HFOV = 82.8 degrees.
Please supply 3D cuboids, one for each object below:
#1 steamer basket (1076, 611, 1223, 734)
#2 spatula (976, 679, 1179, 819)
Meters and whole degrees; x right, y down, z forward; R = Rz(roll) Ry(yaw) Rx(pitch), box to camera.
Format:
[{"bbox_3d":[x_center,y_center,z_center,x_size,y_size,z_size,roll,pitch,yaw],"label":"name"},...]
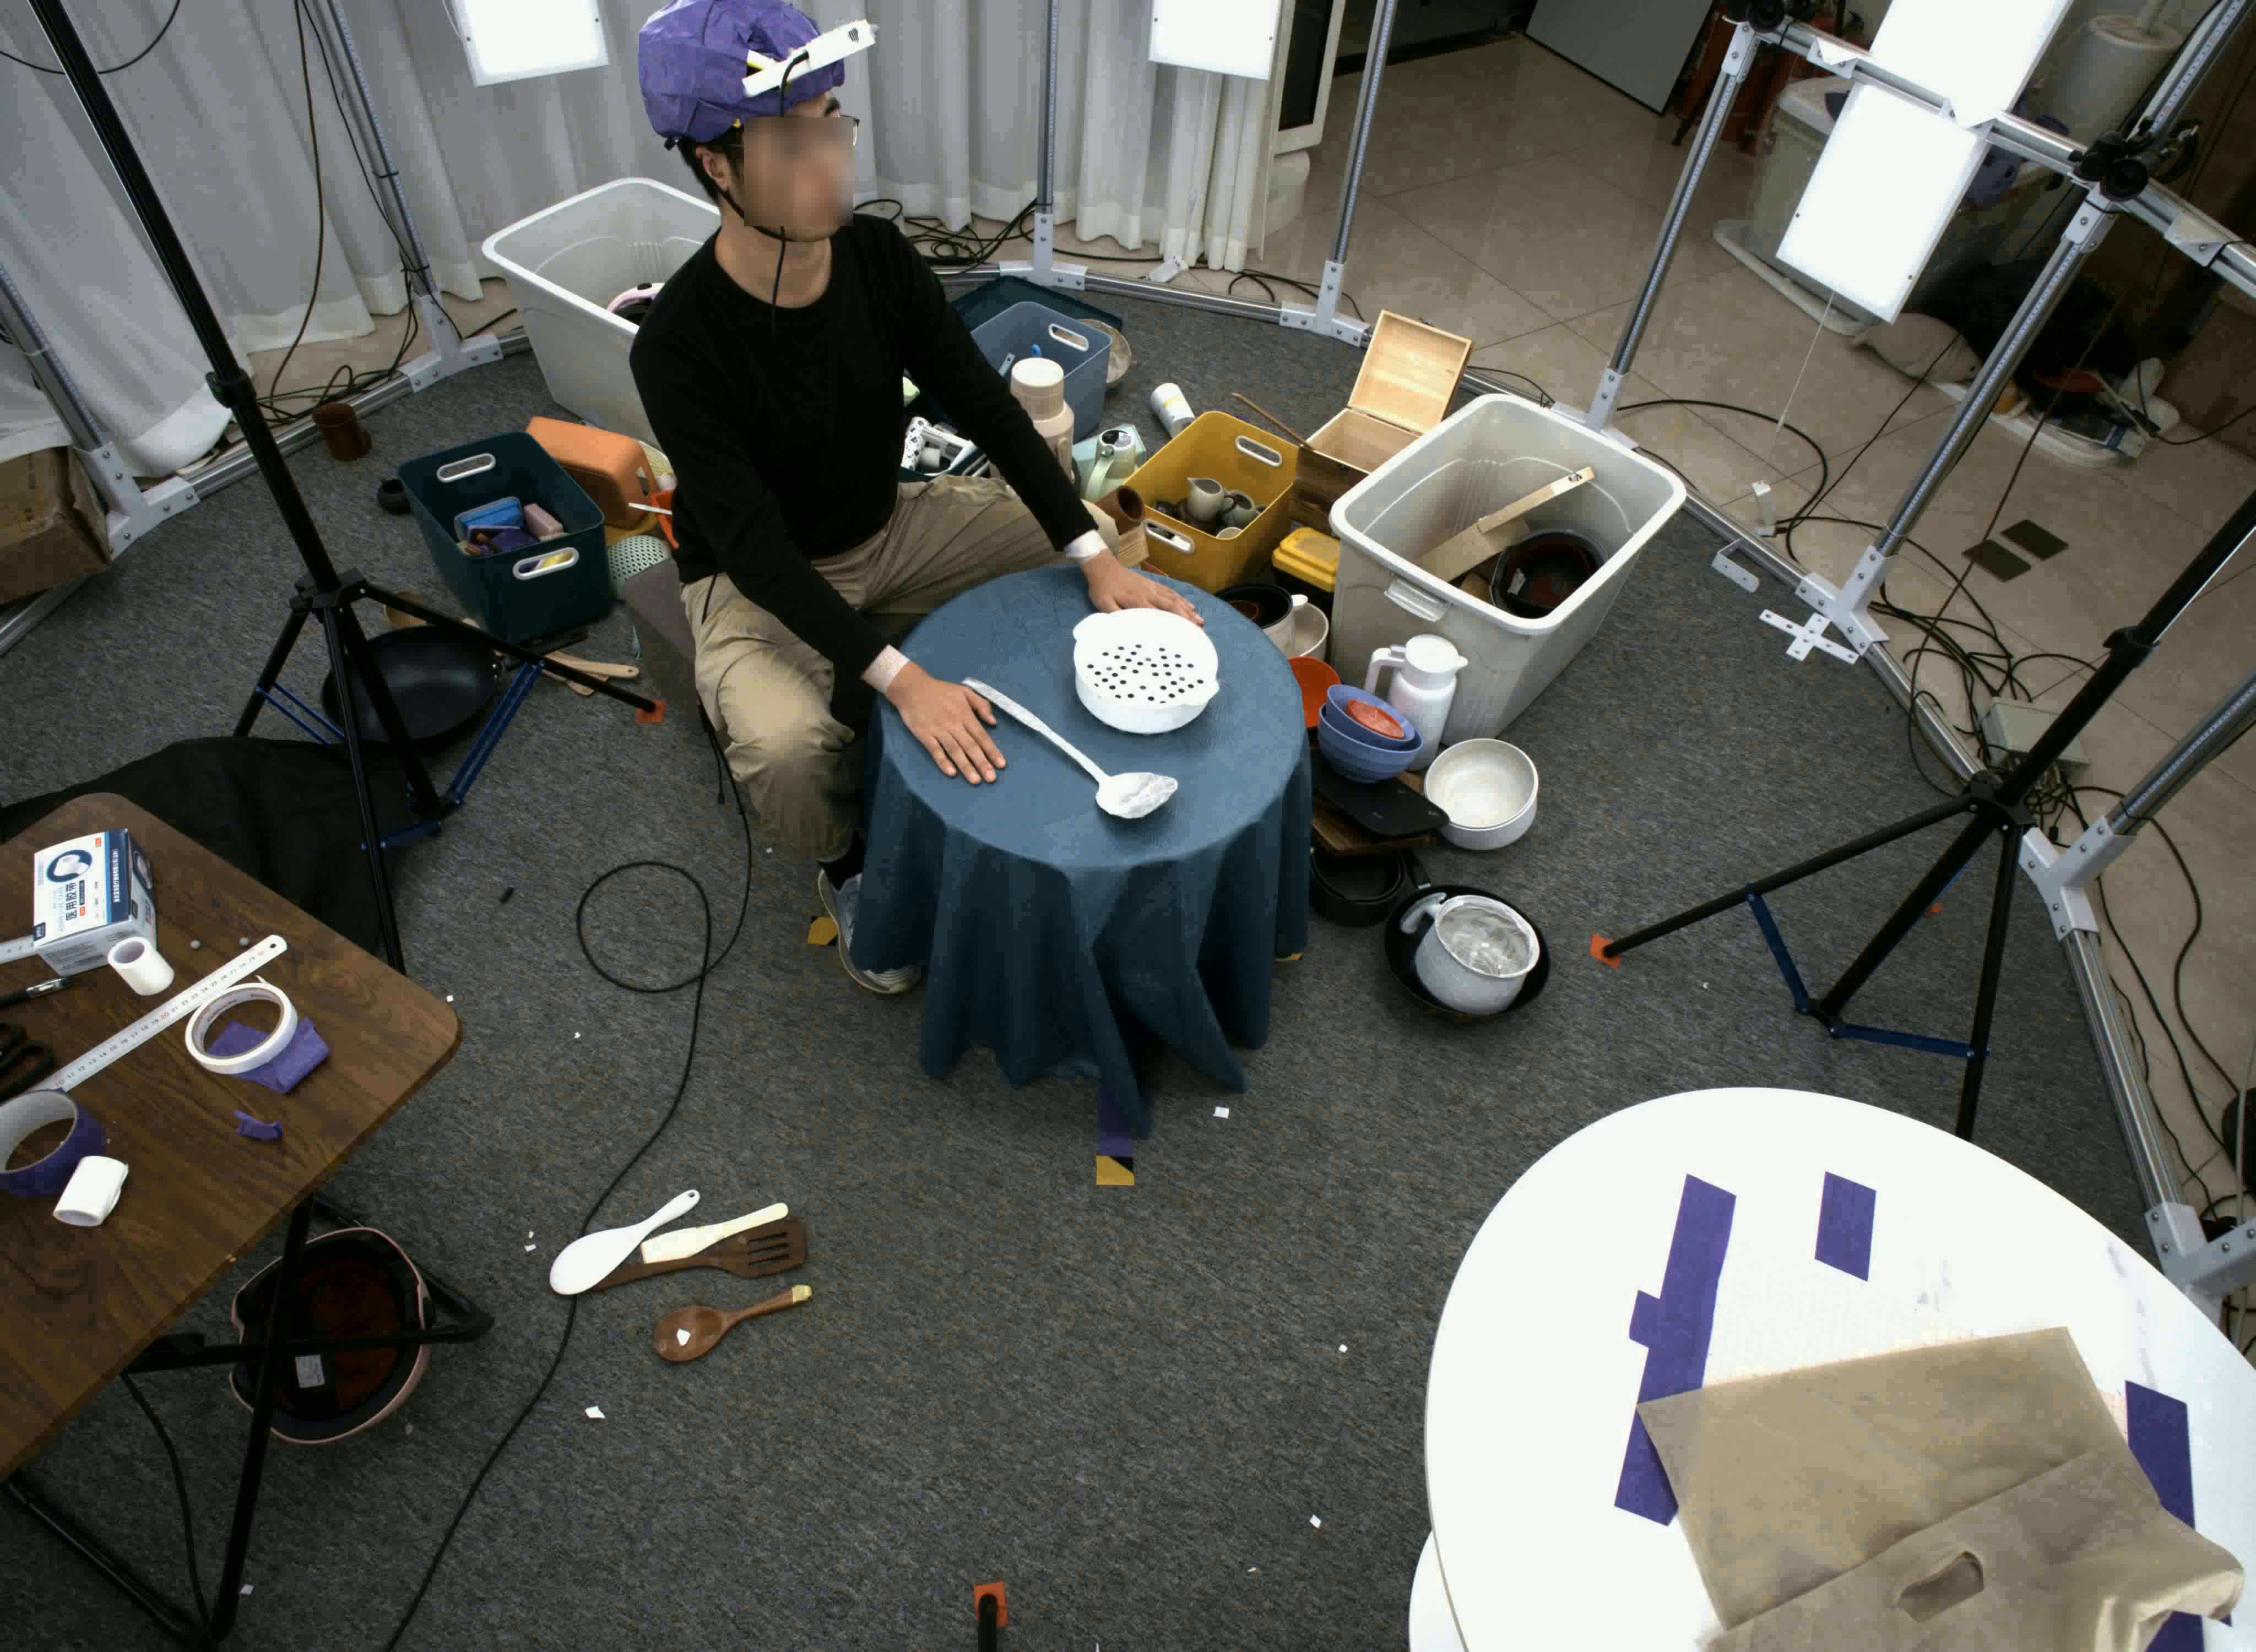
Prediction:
[{"bbox_3d":[0.027,-0.216,1.814,0.233,0.067,0.204,32,53,23],"label":"steamer basket"},{"bbox_3d":[-0.088,-0.117,1.741,0.370,0.044,0.099,37,59,25],"label":"spatula"}]
